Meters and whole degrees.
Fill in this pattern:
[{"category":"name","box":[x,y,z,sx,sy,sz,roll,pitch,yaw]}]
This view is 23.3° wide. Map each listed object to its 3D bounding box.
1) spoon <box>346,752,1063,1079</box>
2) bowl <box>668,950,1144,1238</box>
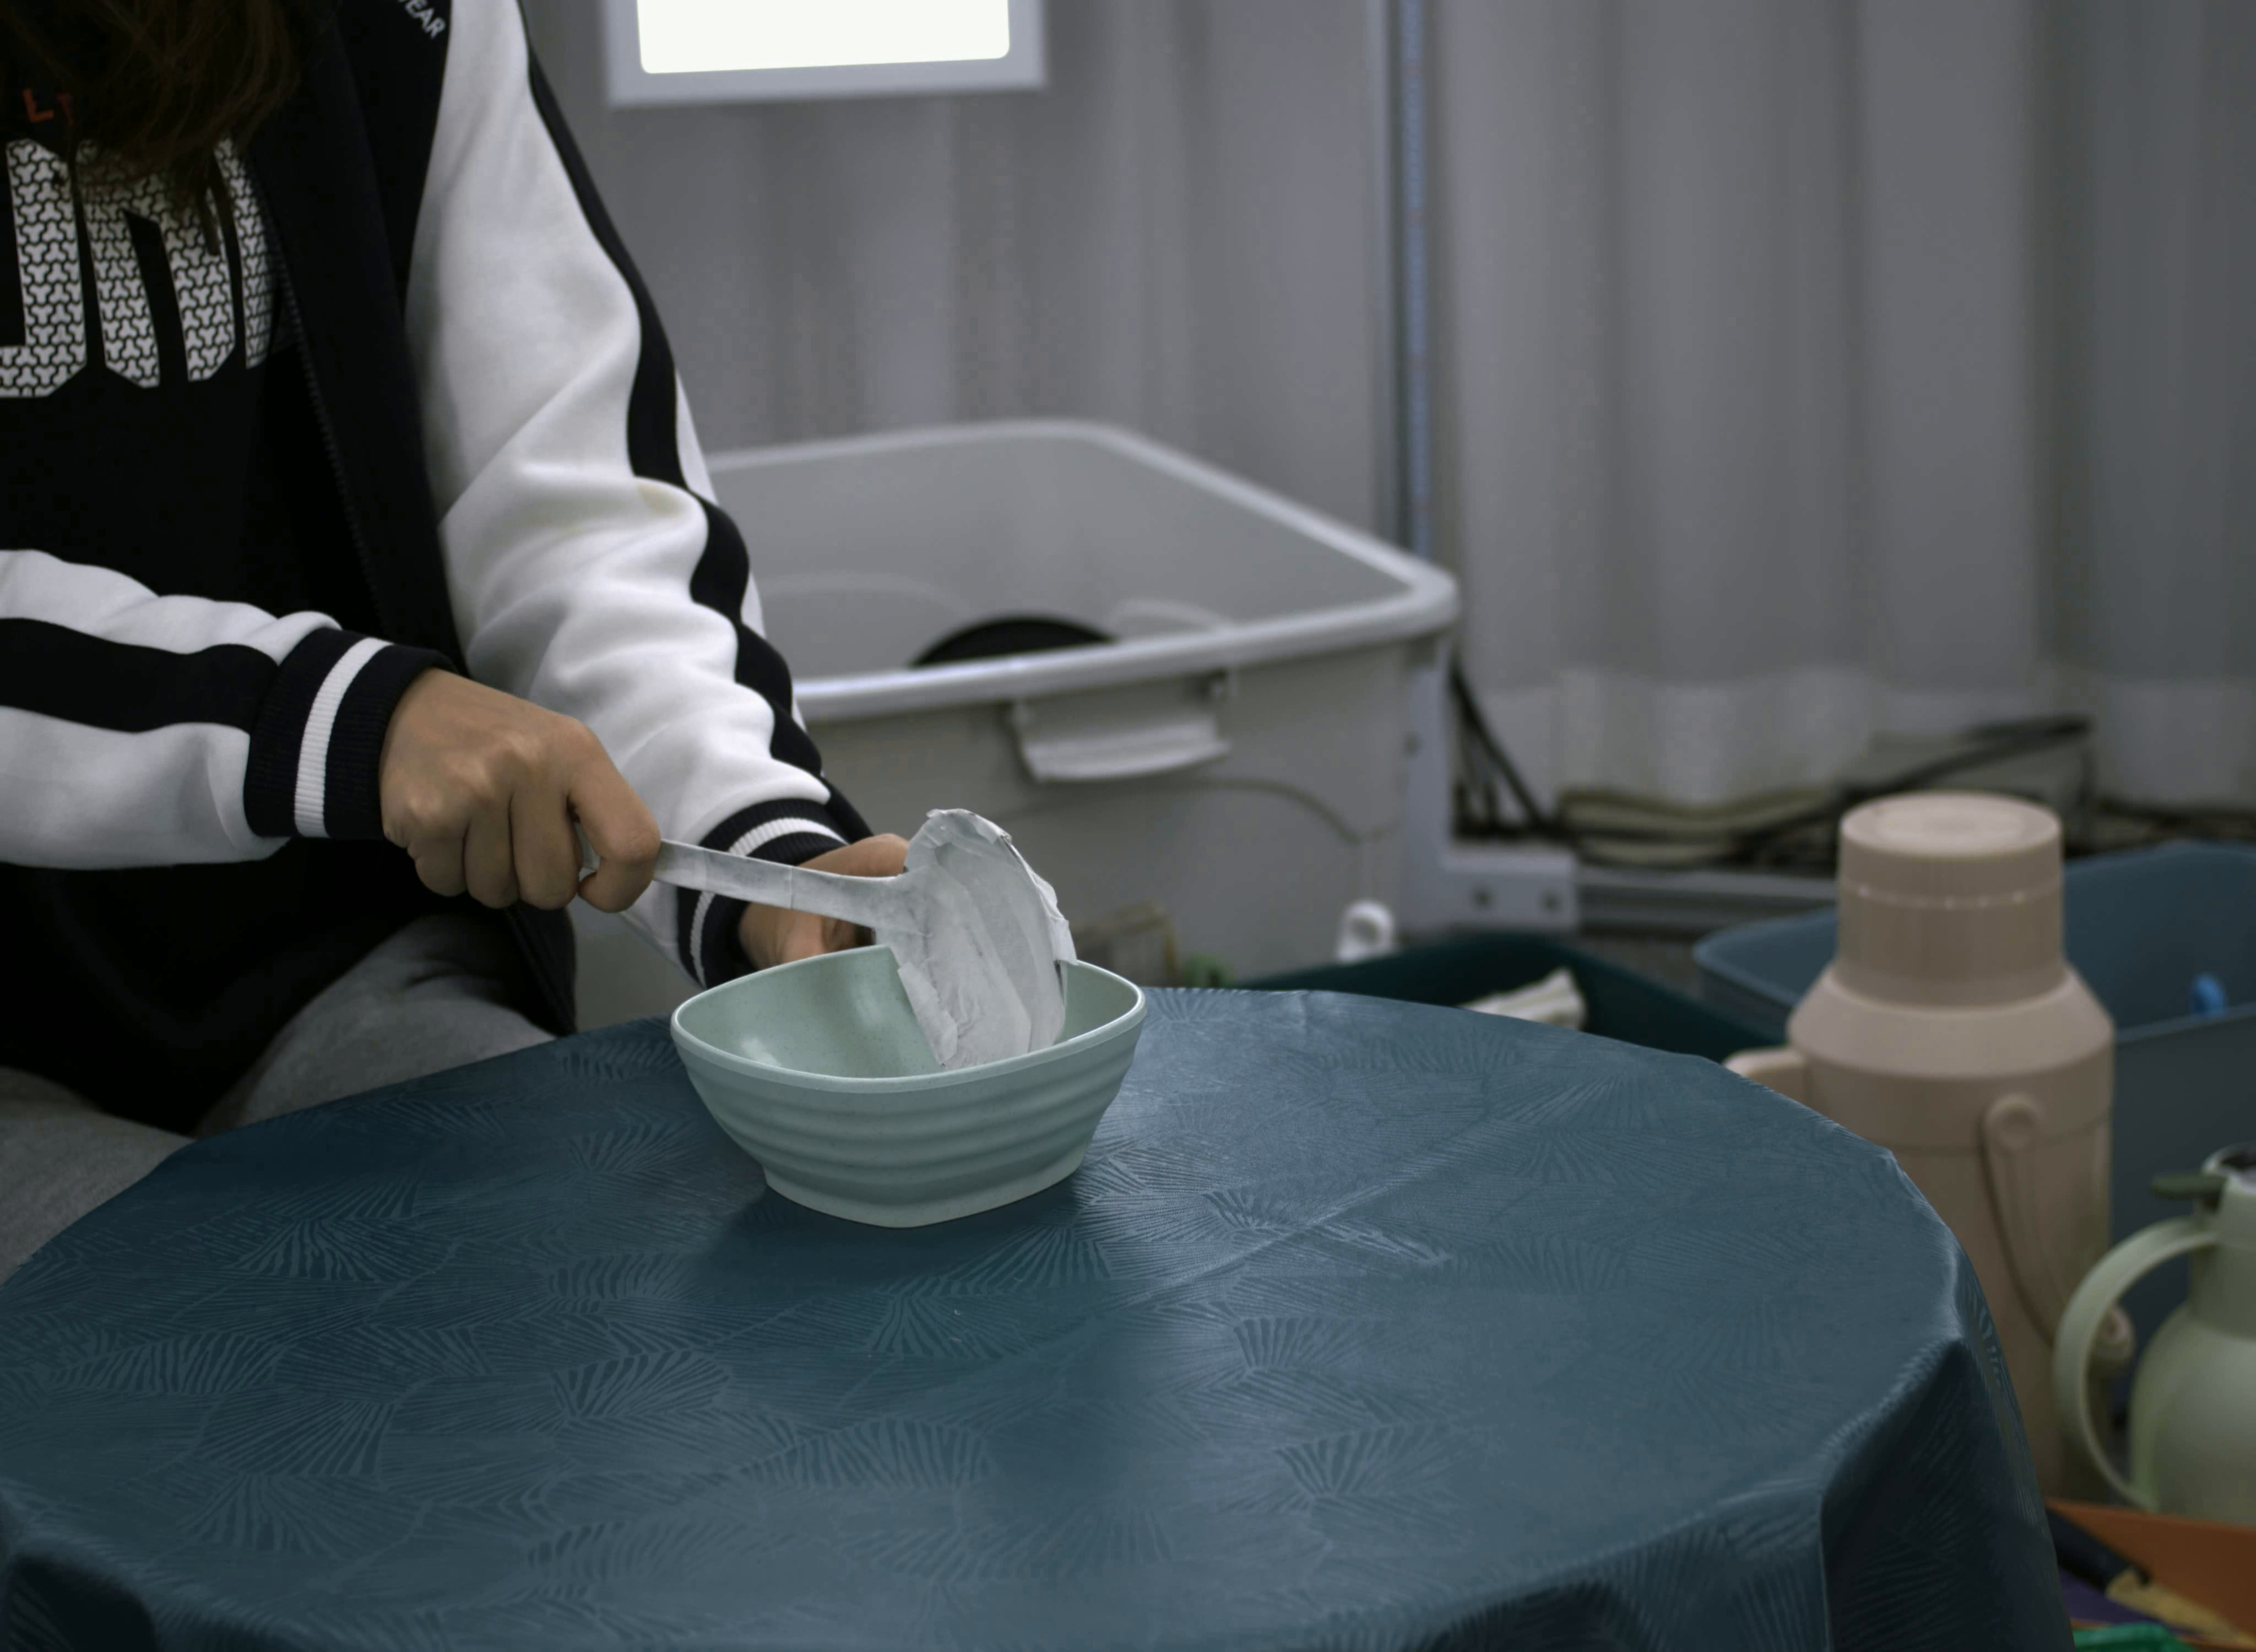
[{"category":"spoon","box":[-0.139,0.015,1.749,0.278,0.100,0.059,14,17,19]},{"category":"bowl","box":[-0.069,0.087,1.732,0.151,0.058,0.152,-2,14,0]}]
